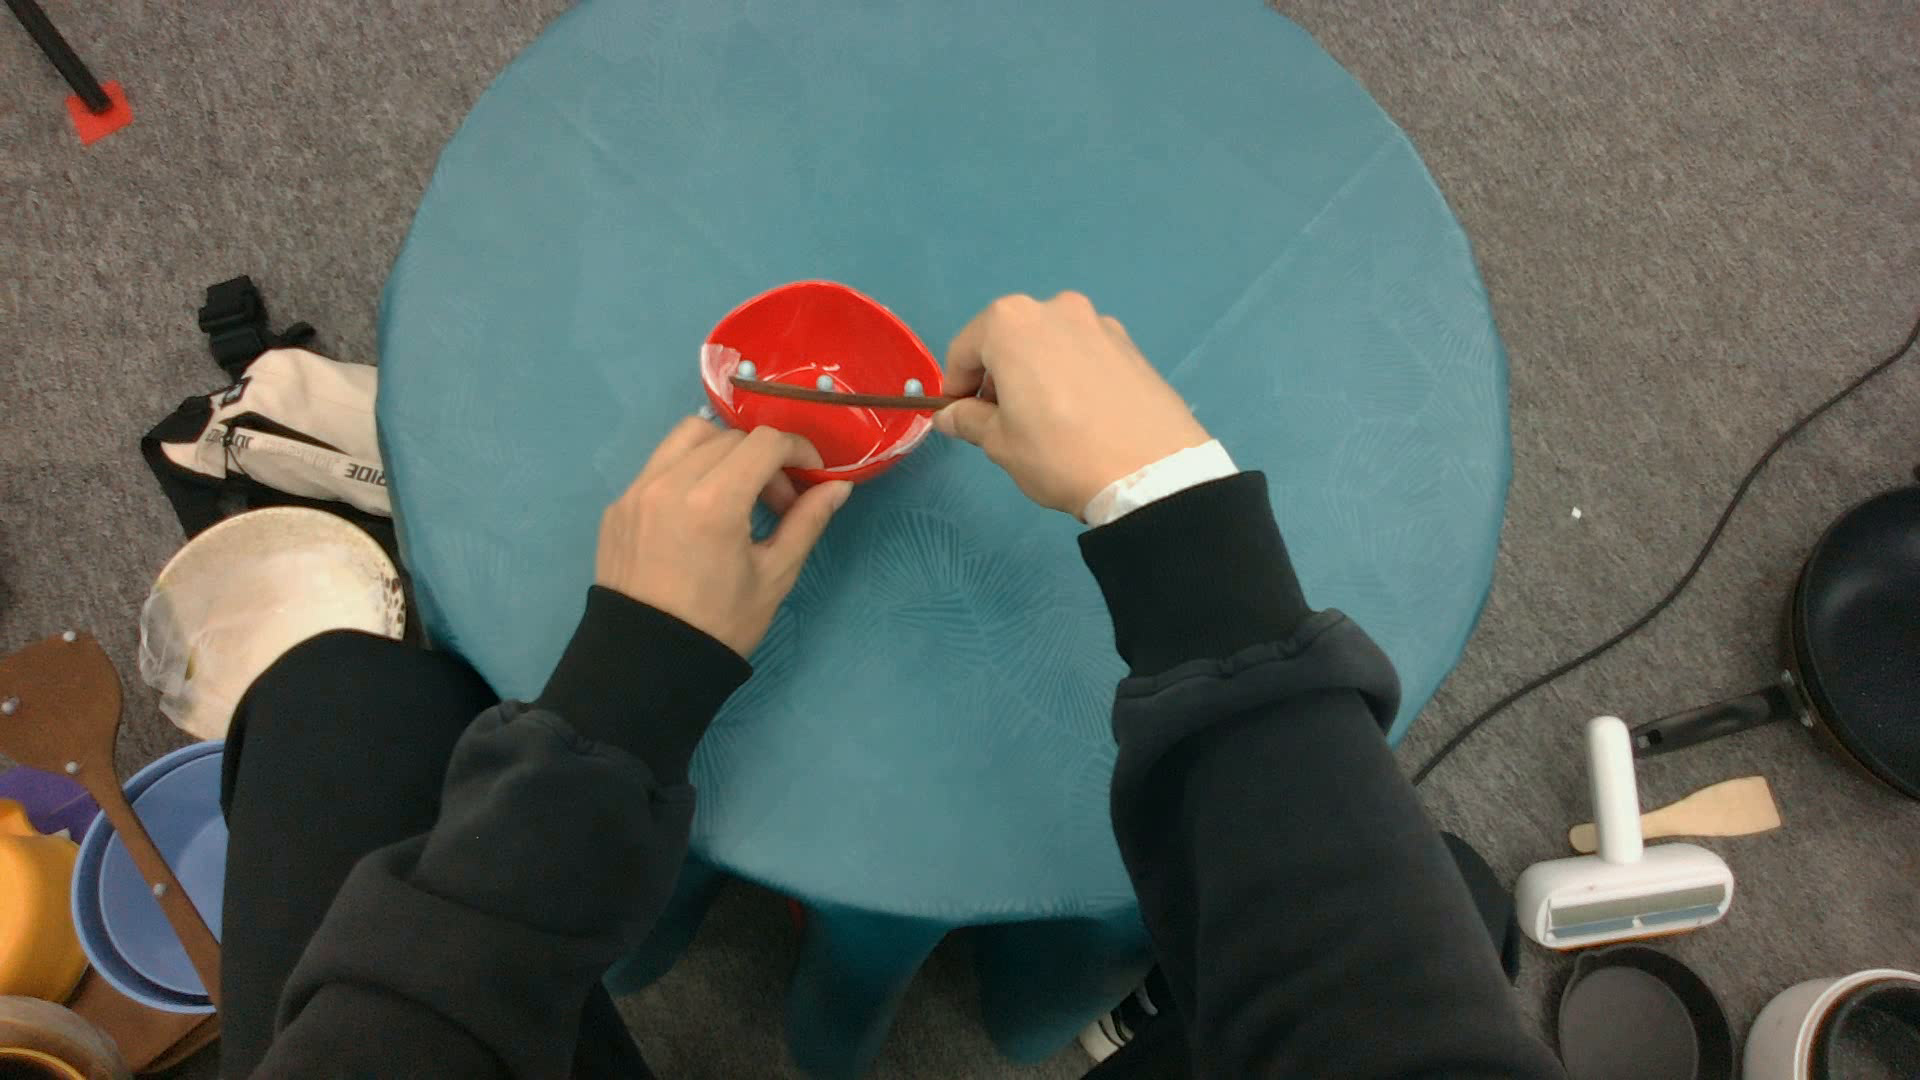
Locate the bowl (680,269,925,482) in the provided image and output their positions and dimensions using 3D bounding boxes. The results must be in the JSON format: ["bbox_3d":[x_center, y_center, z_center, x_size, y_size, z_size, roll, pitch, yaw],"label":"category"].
[{"bbox_3d":[-0.080,-0.073,0.677,0.119,0.051,0.119,10,54,-14],"label":"bowl"}]

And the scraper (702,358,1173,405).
[{"bbox_3d":[-0.010,-0.069,0.613,0.211,0.076,0.011,6,96,18],"label":"scraper"}]
